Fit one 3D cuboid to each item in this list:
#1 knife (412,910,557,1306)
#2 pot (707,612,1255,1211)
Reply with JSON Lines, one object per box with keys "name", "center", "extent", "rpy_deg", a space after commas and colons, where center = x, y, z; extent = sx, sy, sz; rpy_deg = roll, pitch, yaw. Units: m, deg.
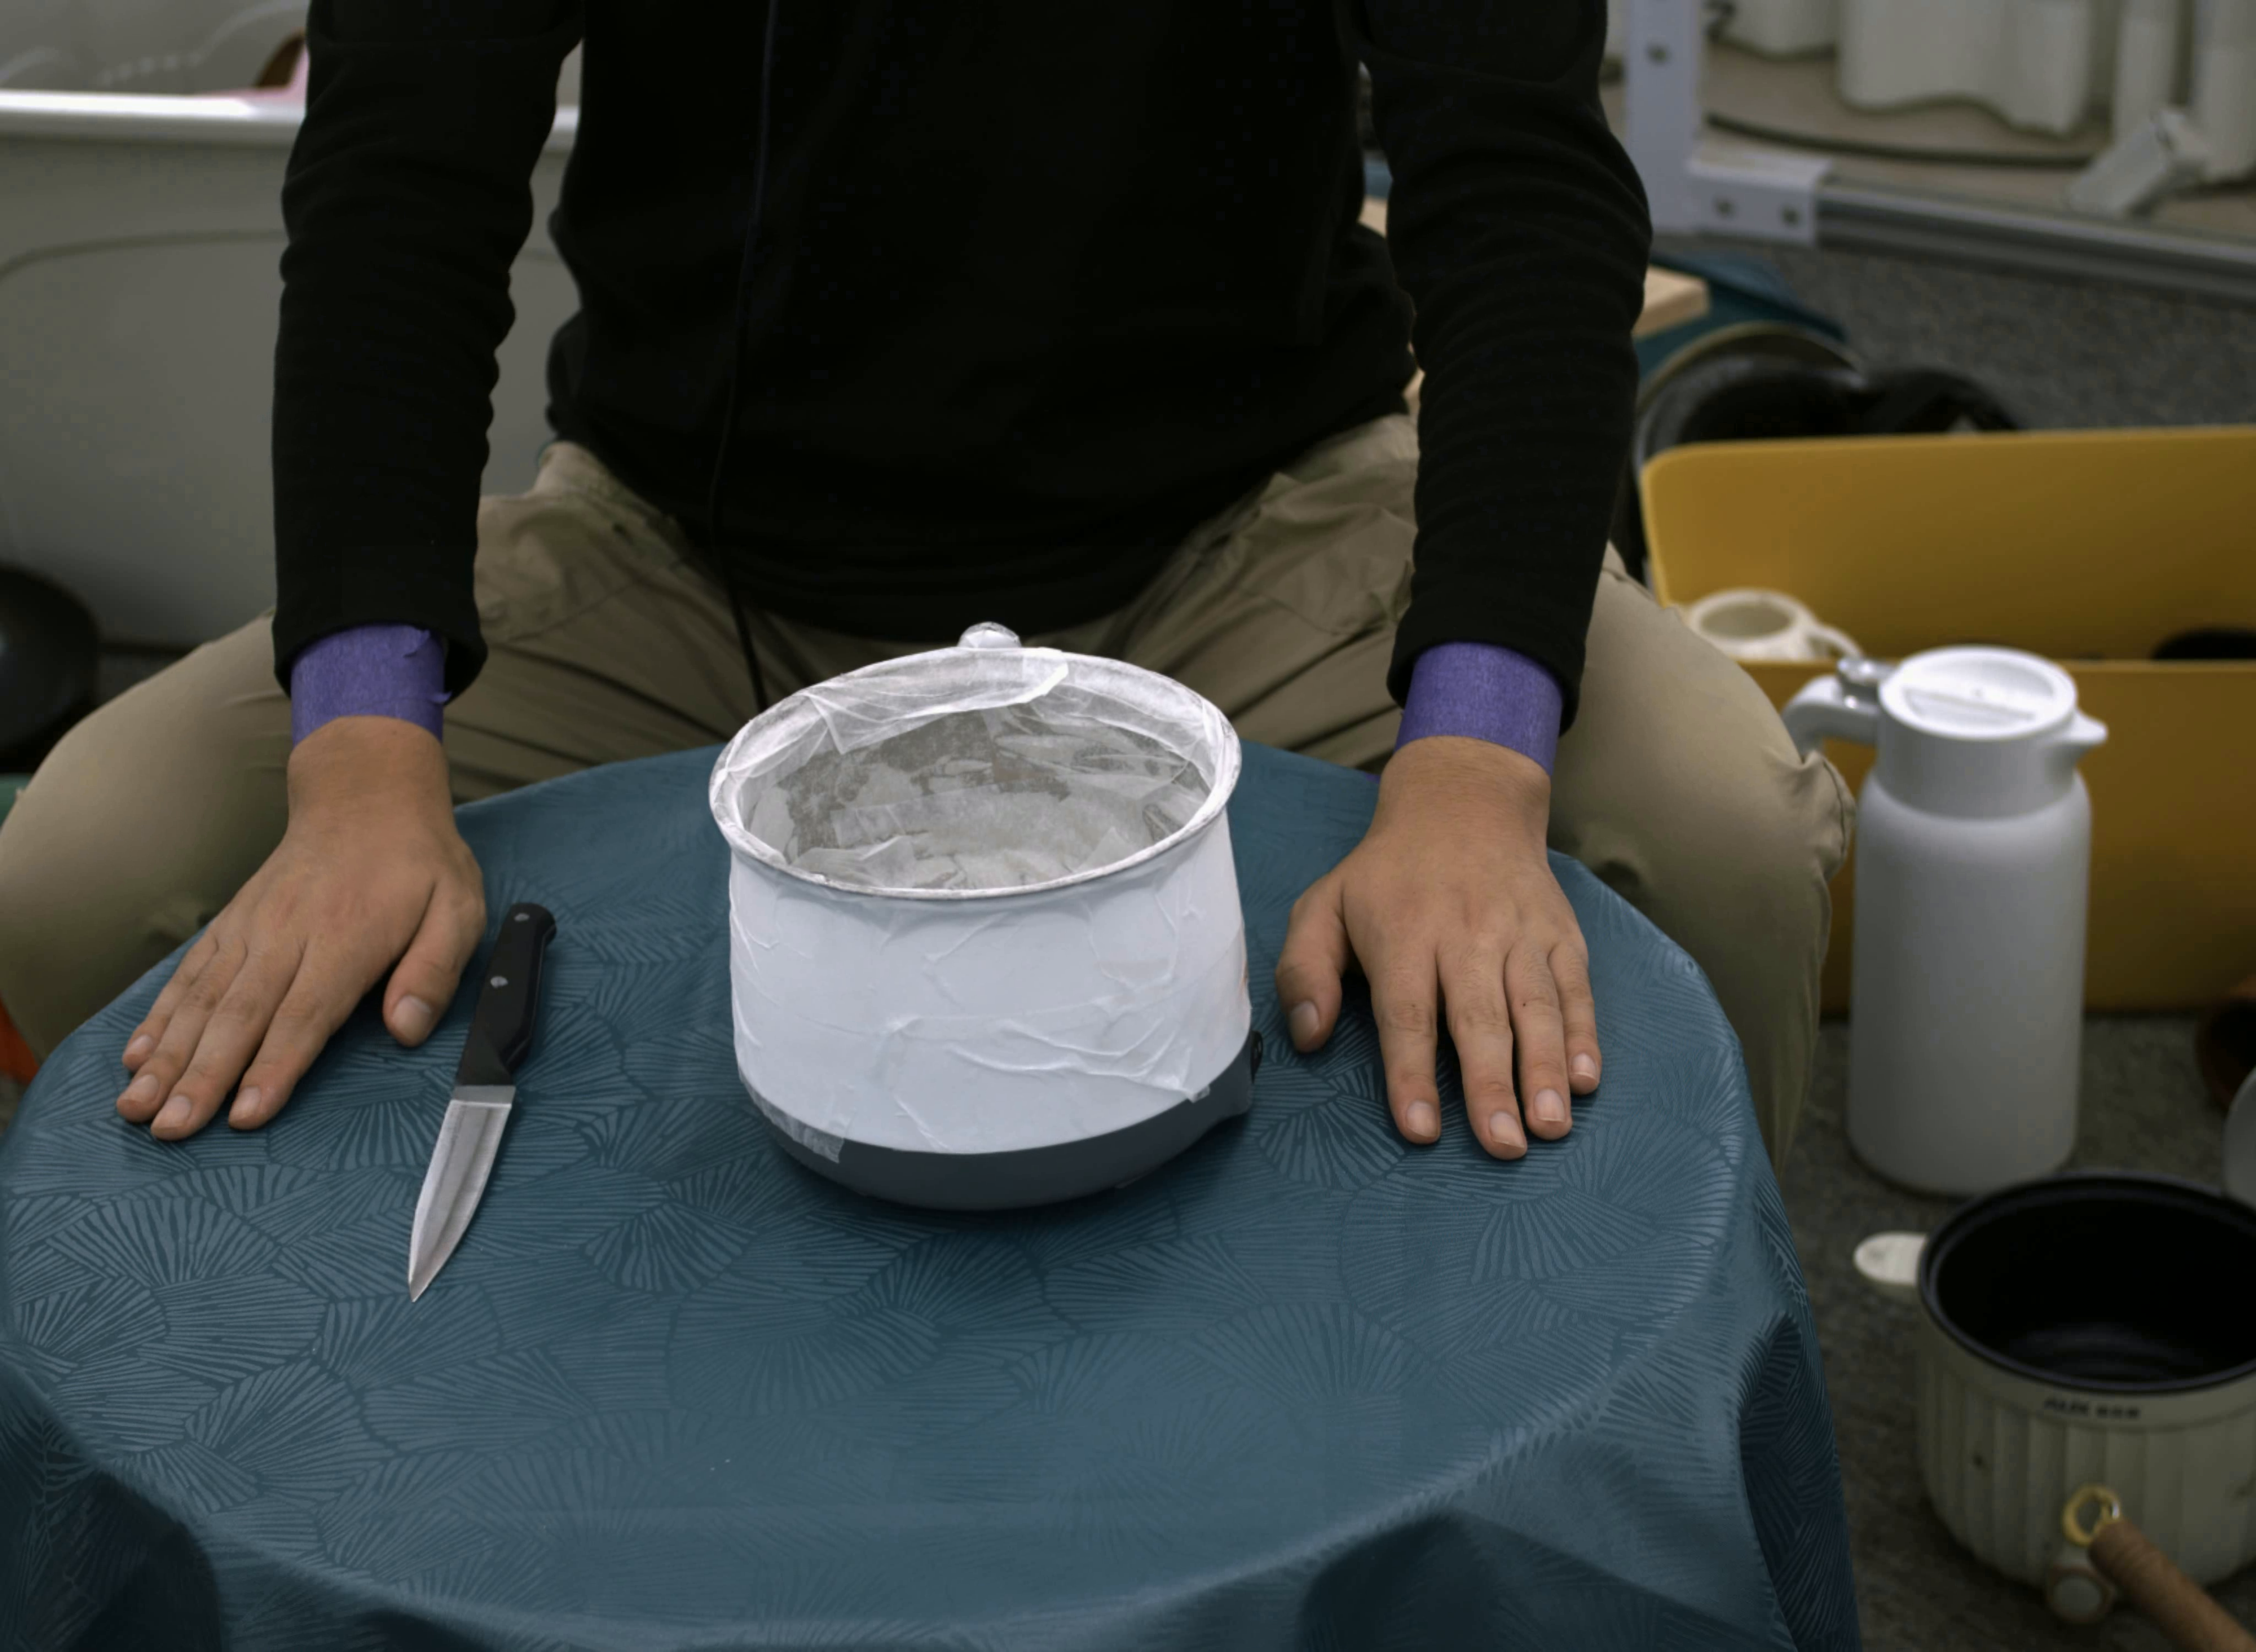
{"name": "knife", "center": [-0.223, 0.095, 1.920], "extent": [0.024, 0.016, 0.242], "rpy_deg": [2, 30, 3]}
{"name": "pot", "center": [-0.048, 0.021, 1.905], "extent": [0.178, 0.135, 0.237], "rpy_deg": [-2, 28, 1]}
